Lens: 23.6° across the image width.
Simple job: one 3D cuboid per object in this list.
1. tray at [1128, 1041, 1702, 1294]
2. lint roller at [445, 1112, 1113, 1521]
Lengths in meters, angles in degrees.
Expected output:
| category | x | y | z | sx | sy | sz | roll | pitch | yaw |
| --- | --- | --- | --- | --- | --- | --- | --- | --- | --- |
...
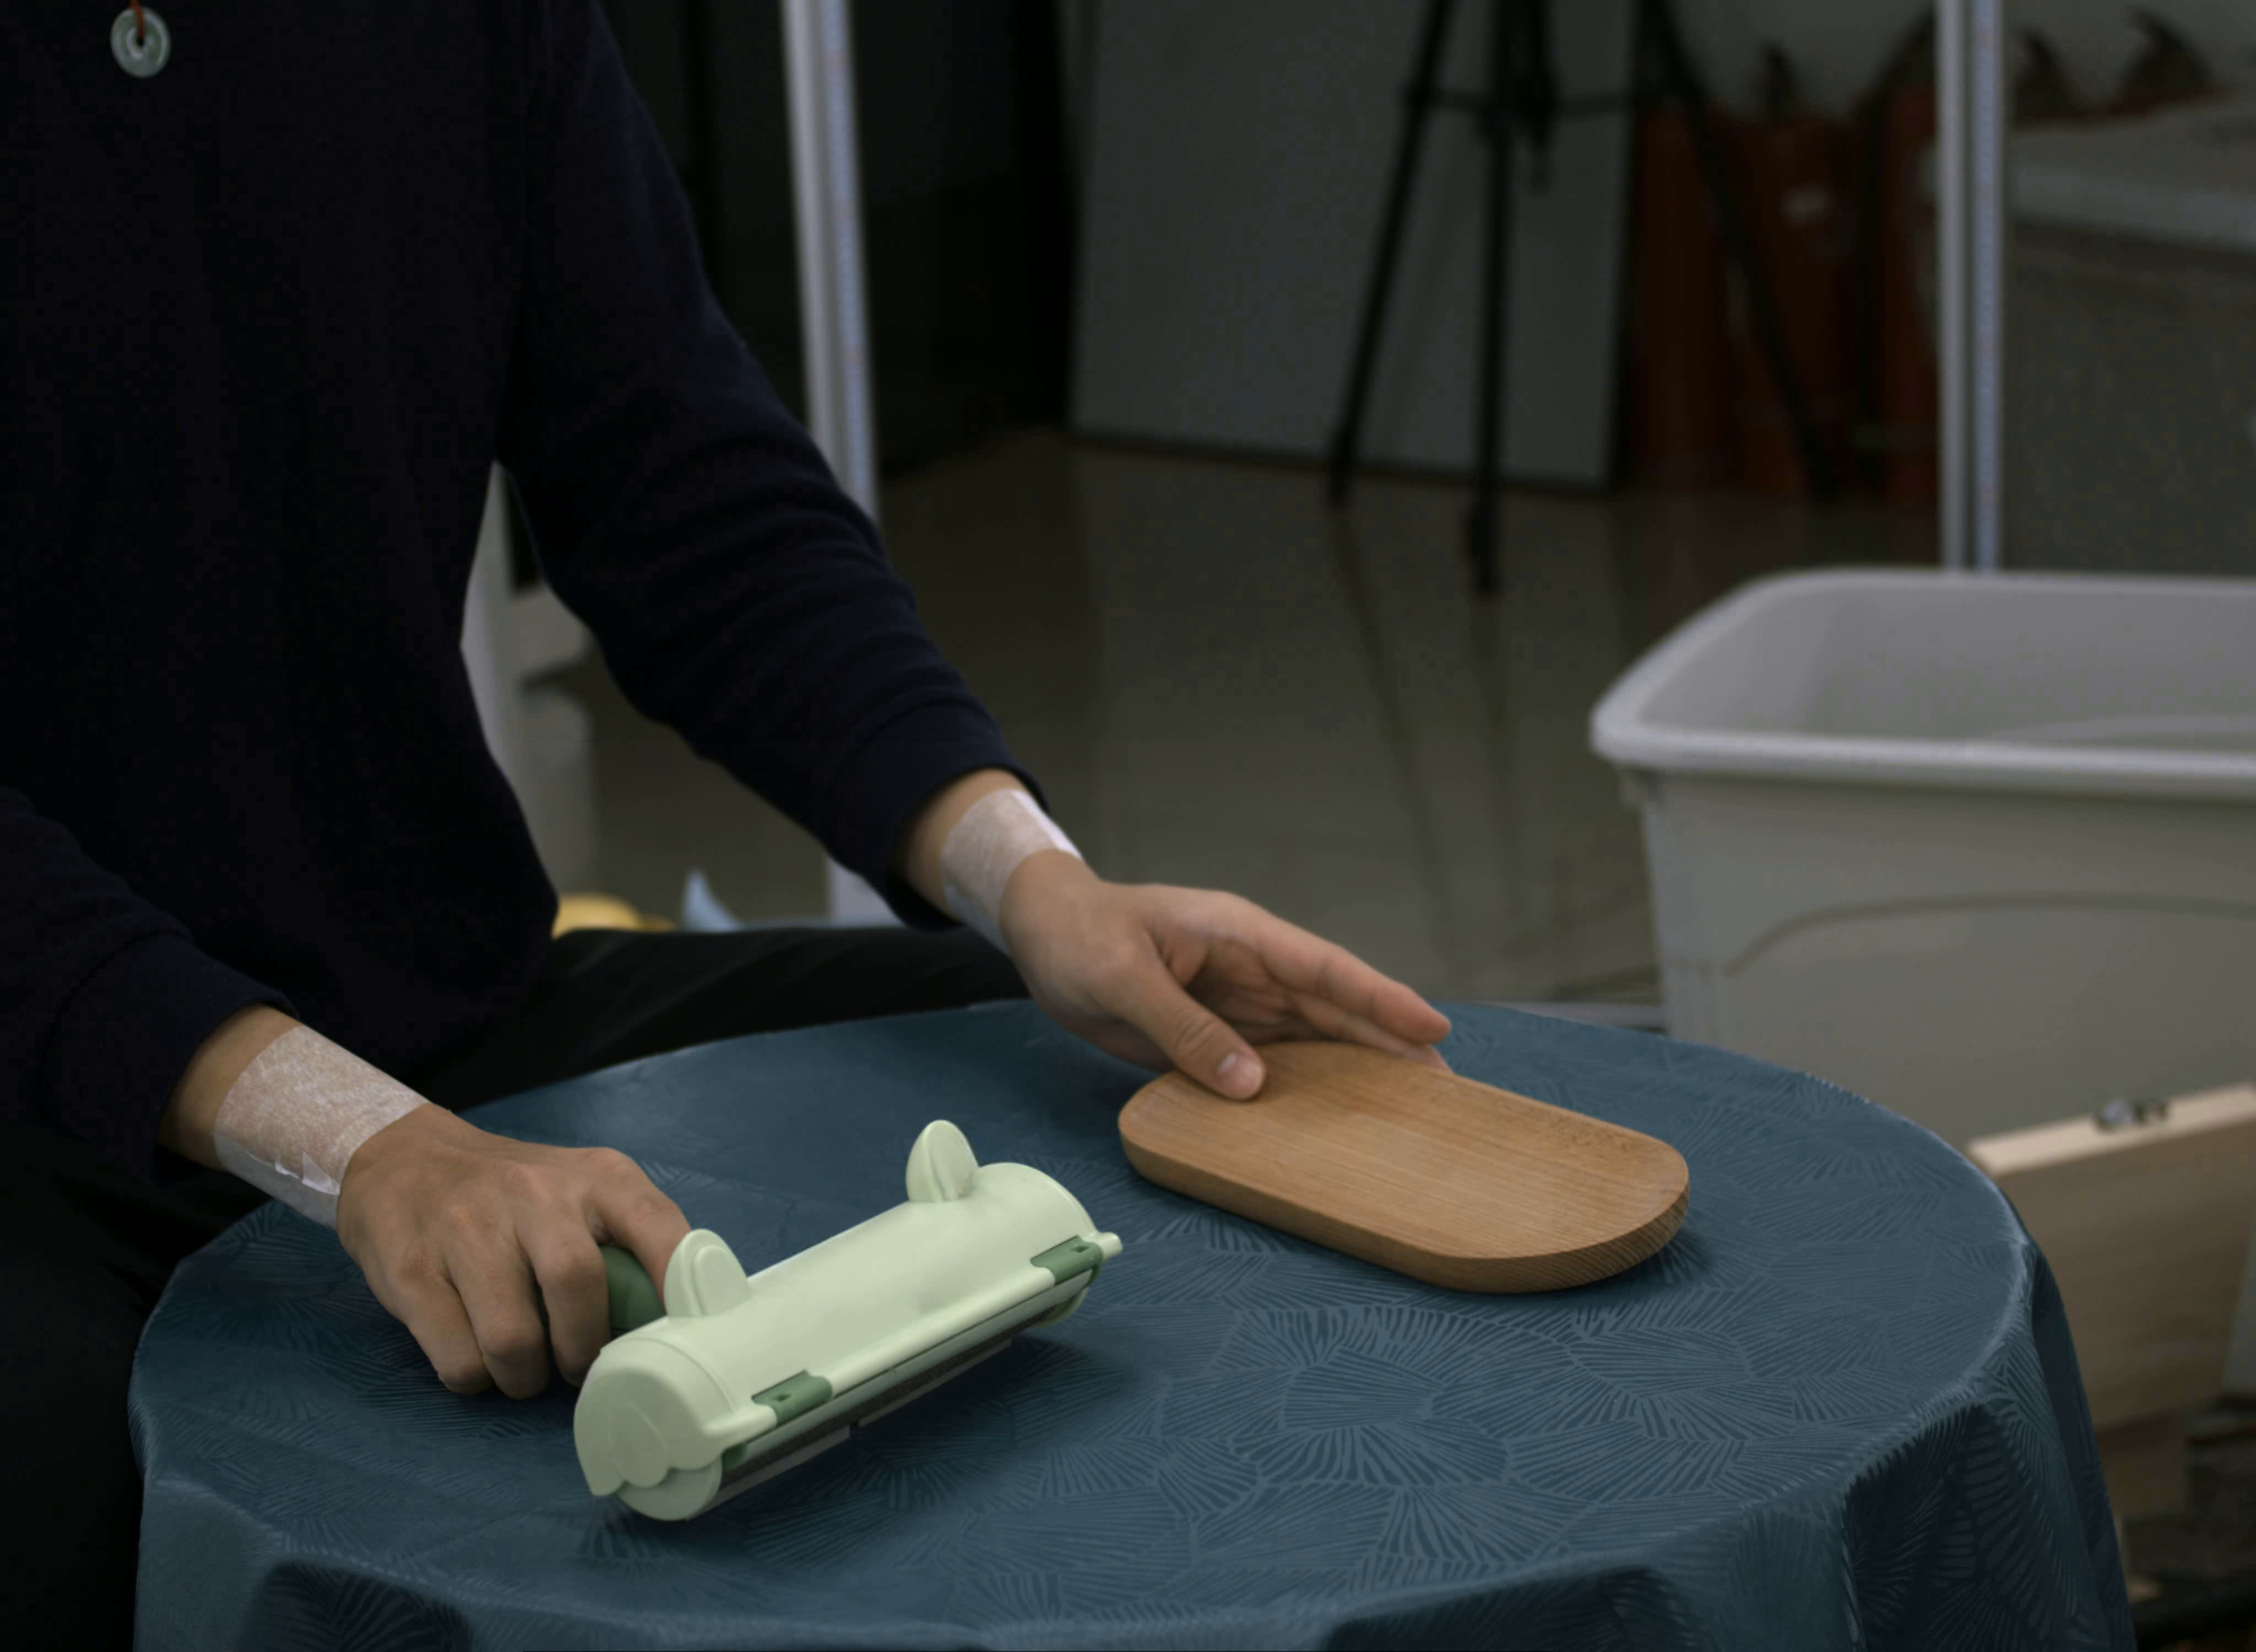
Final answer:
| category | x | y | z | sx | sy | sz | roll | pitch | yaw |
| --- | --- | --- | --- | --- | --- | --- | --- | --- | --- |
| tray | 0.090 | 0.109 | 1.735 | 0.100 | 0.020 | 0.233 | -26 | 25 | -32 |
| lint roller | -0.128 | 0.126 | 1.589 | 0.184 | 0.083 | 0.195 | 16 | 22 | 31 |
